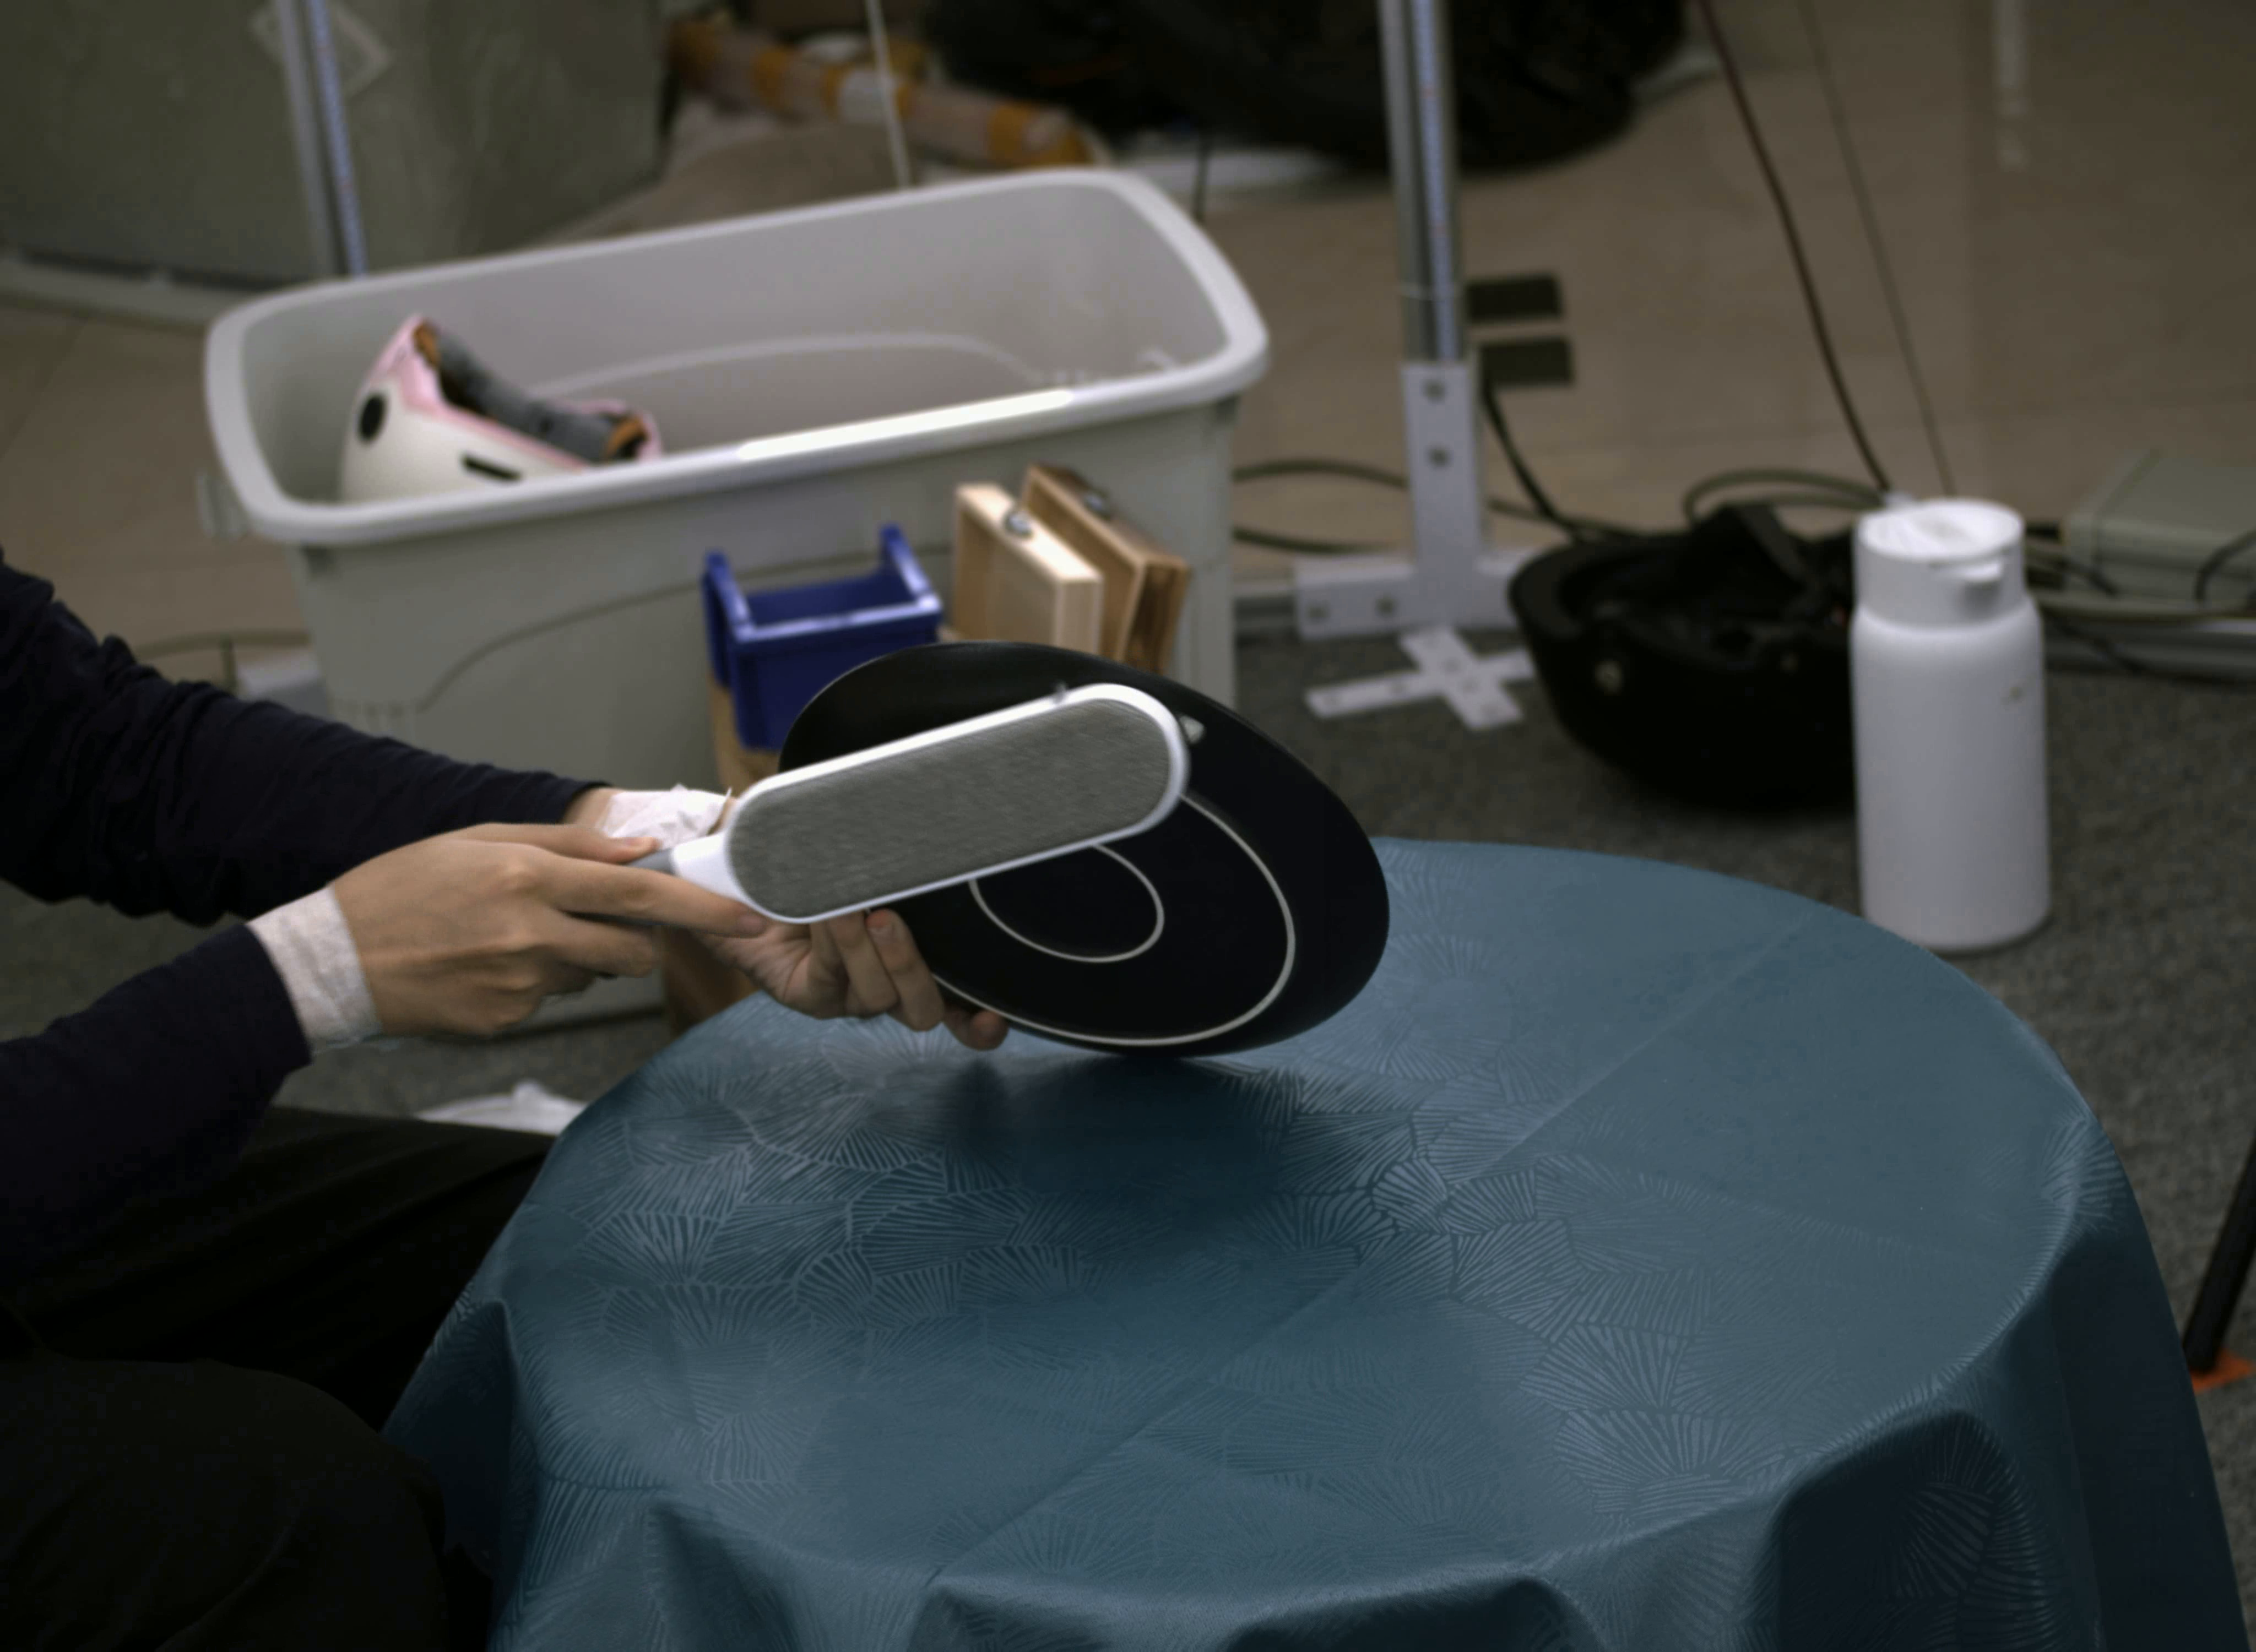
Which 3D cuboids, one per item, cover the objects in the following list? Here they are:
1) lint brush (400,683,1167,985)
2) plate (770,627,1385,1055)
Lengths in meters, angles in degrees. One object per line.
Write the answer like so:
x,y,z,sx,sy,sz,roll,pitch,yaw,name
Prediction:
-0.131,0.008,2.099,0.309,0.061,0.020,-16,18,15,lint brush
-0.022,0.015,2.156,0.244,0.249,0.023,3,50,19,plate
